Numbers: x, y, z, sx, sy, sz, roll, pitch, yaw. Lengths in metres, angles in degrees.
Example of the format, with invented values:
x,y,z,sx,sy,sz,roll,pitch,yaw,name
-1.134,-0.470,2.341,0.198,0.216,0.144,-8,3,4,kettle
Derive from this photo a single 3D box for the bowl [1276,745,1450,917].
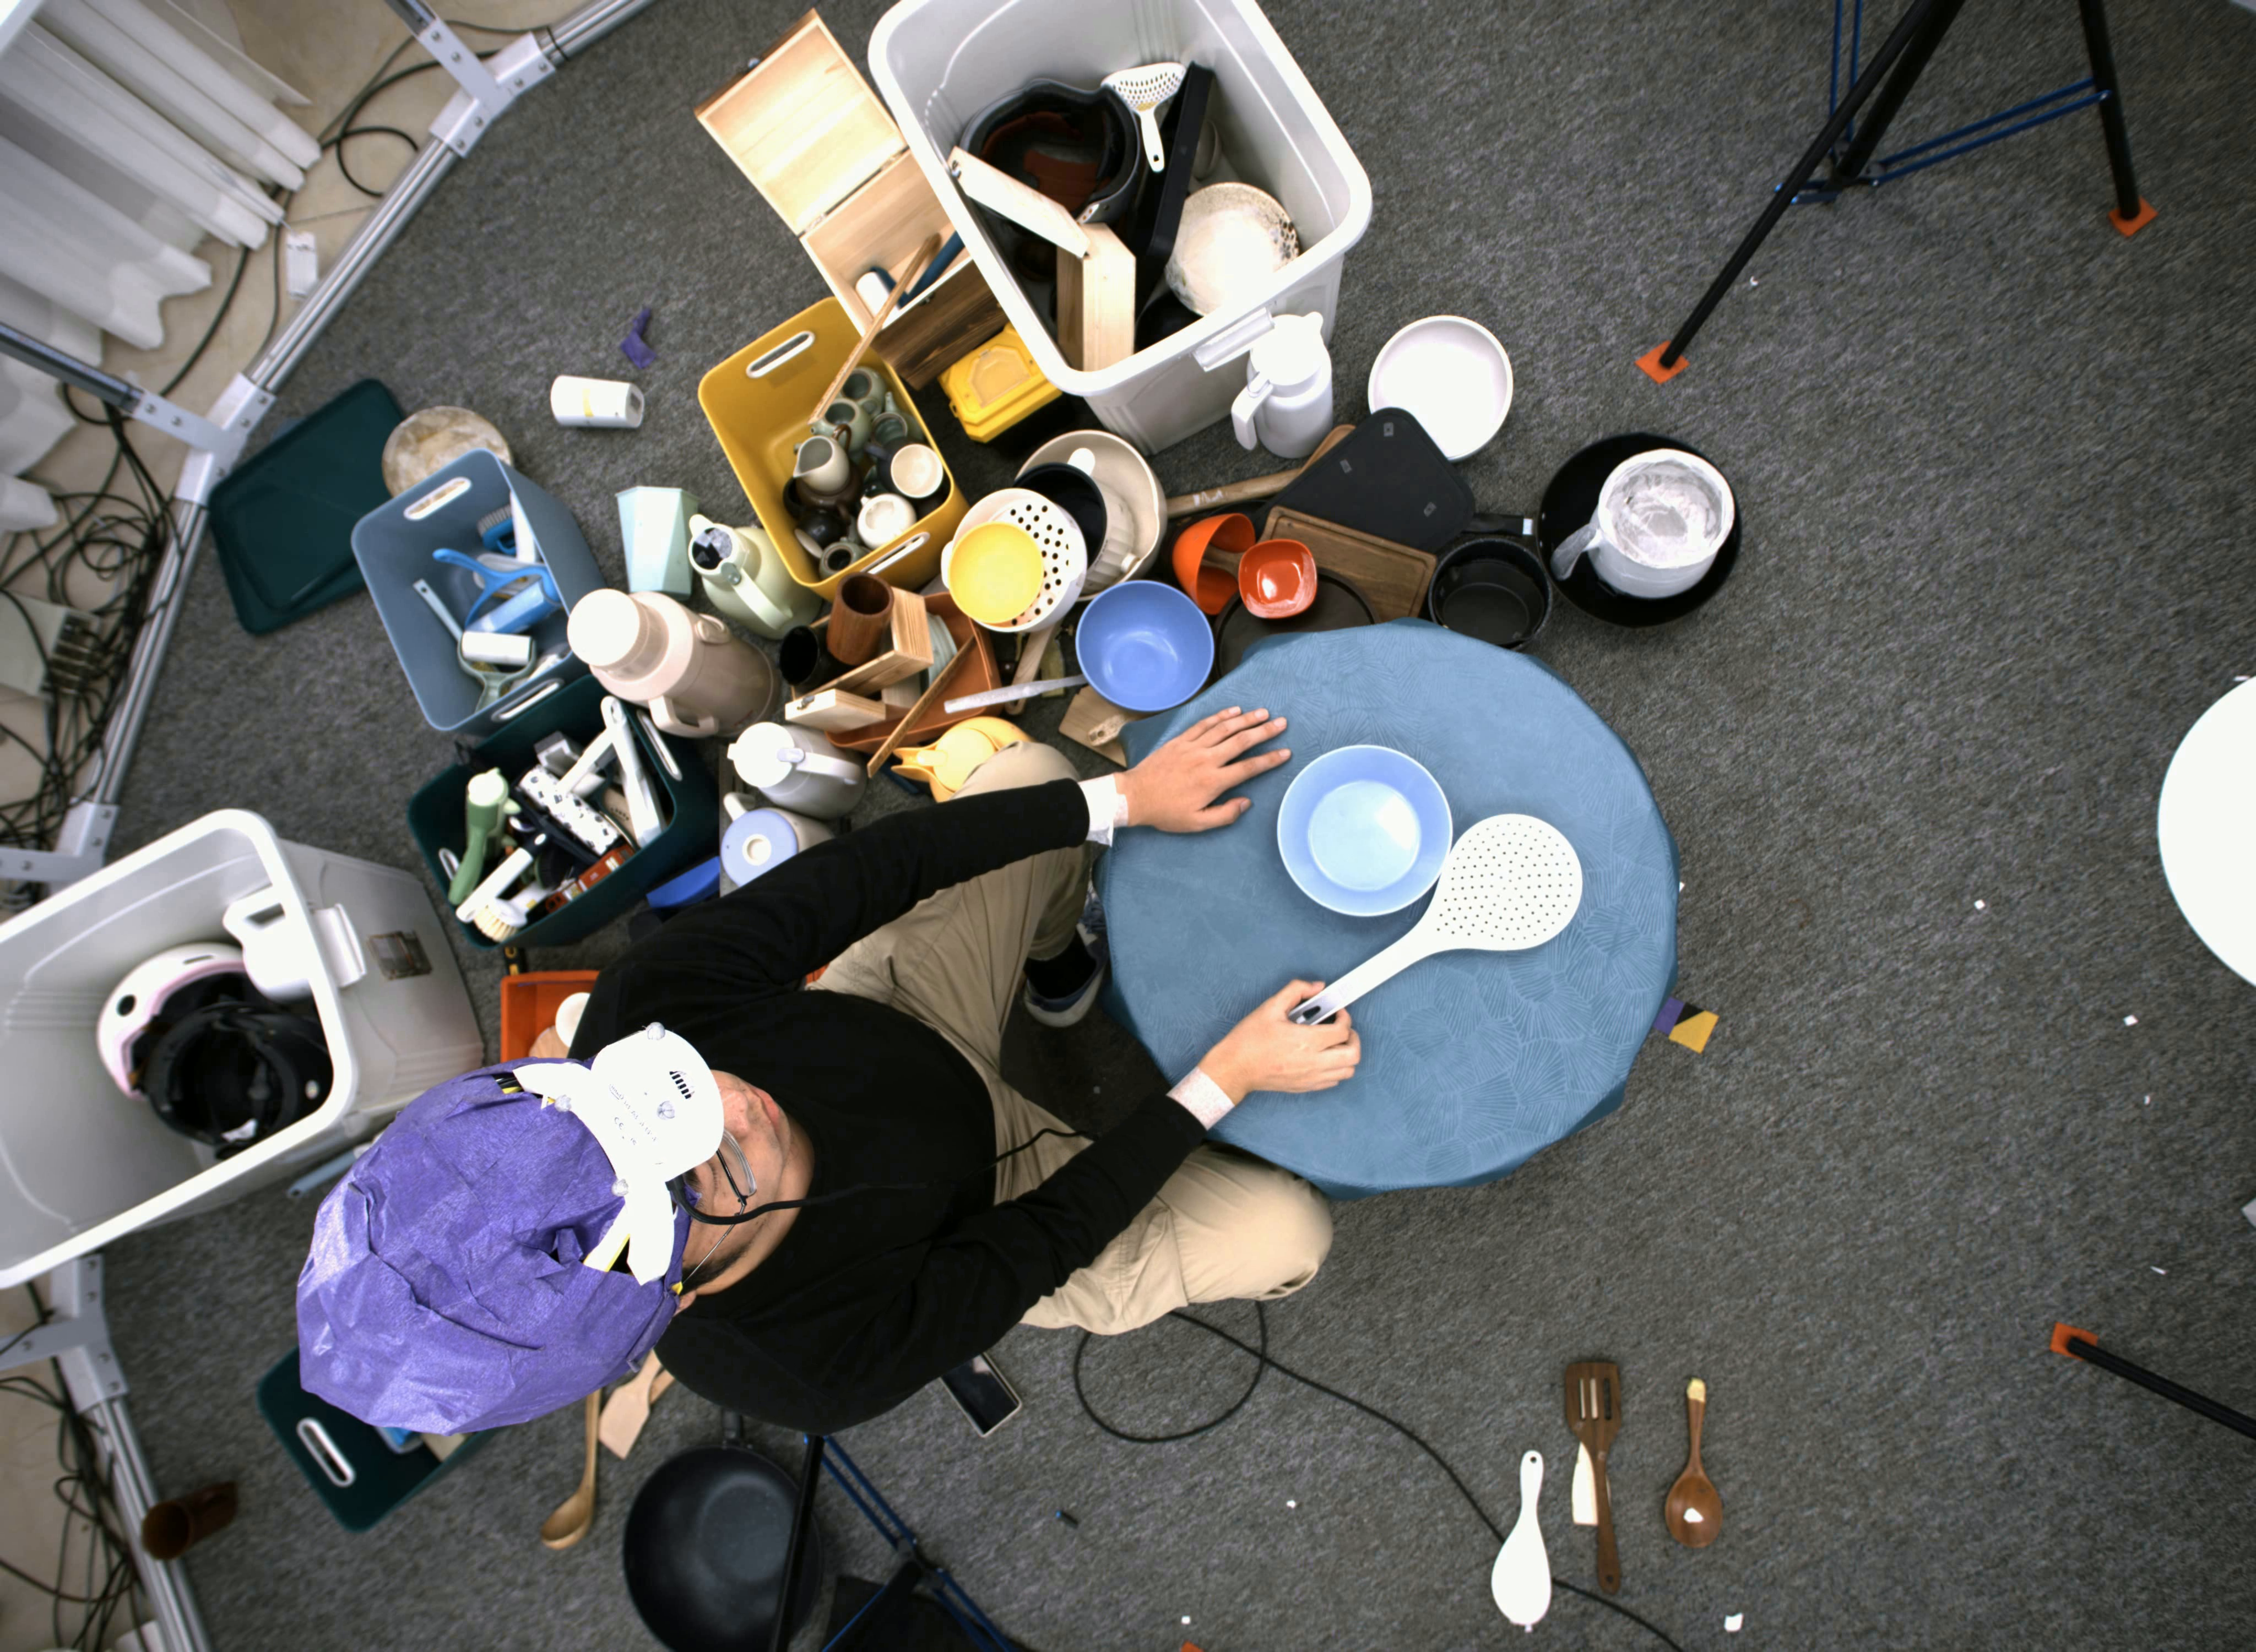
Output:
x,y,z,sx,sy,sz,roll,pitch,yaw,name
0.244,0.006,1.434,0.177,0.070,0.175,-1,87,11,bowl

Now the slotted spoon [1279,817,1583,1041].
x,y,z,sx,sy,sz,roll,pitch,yaw,name
0.307,0.118,1.427,0.352,0.045,0.136,-35,87,8,slotted spoon
